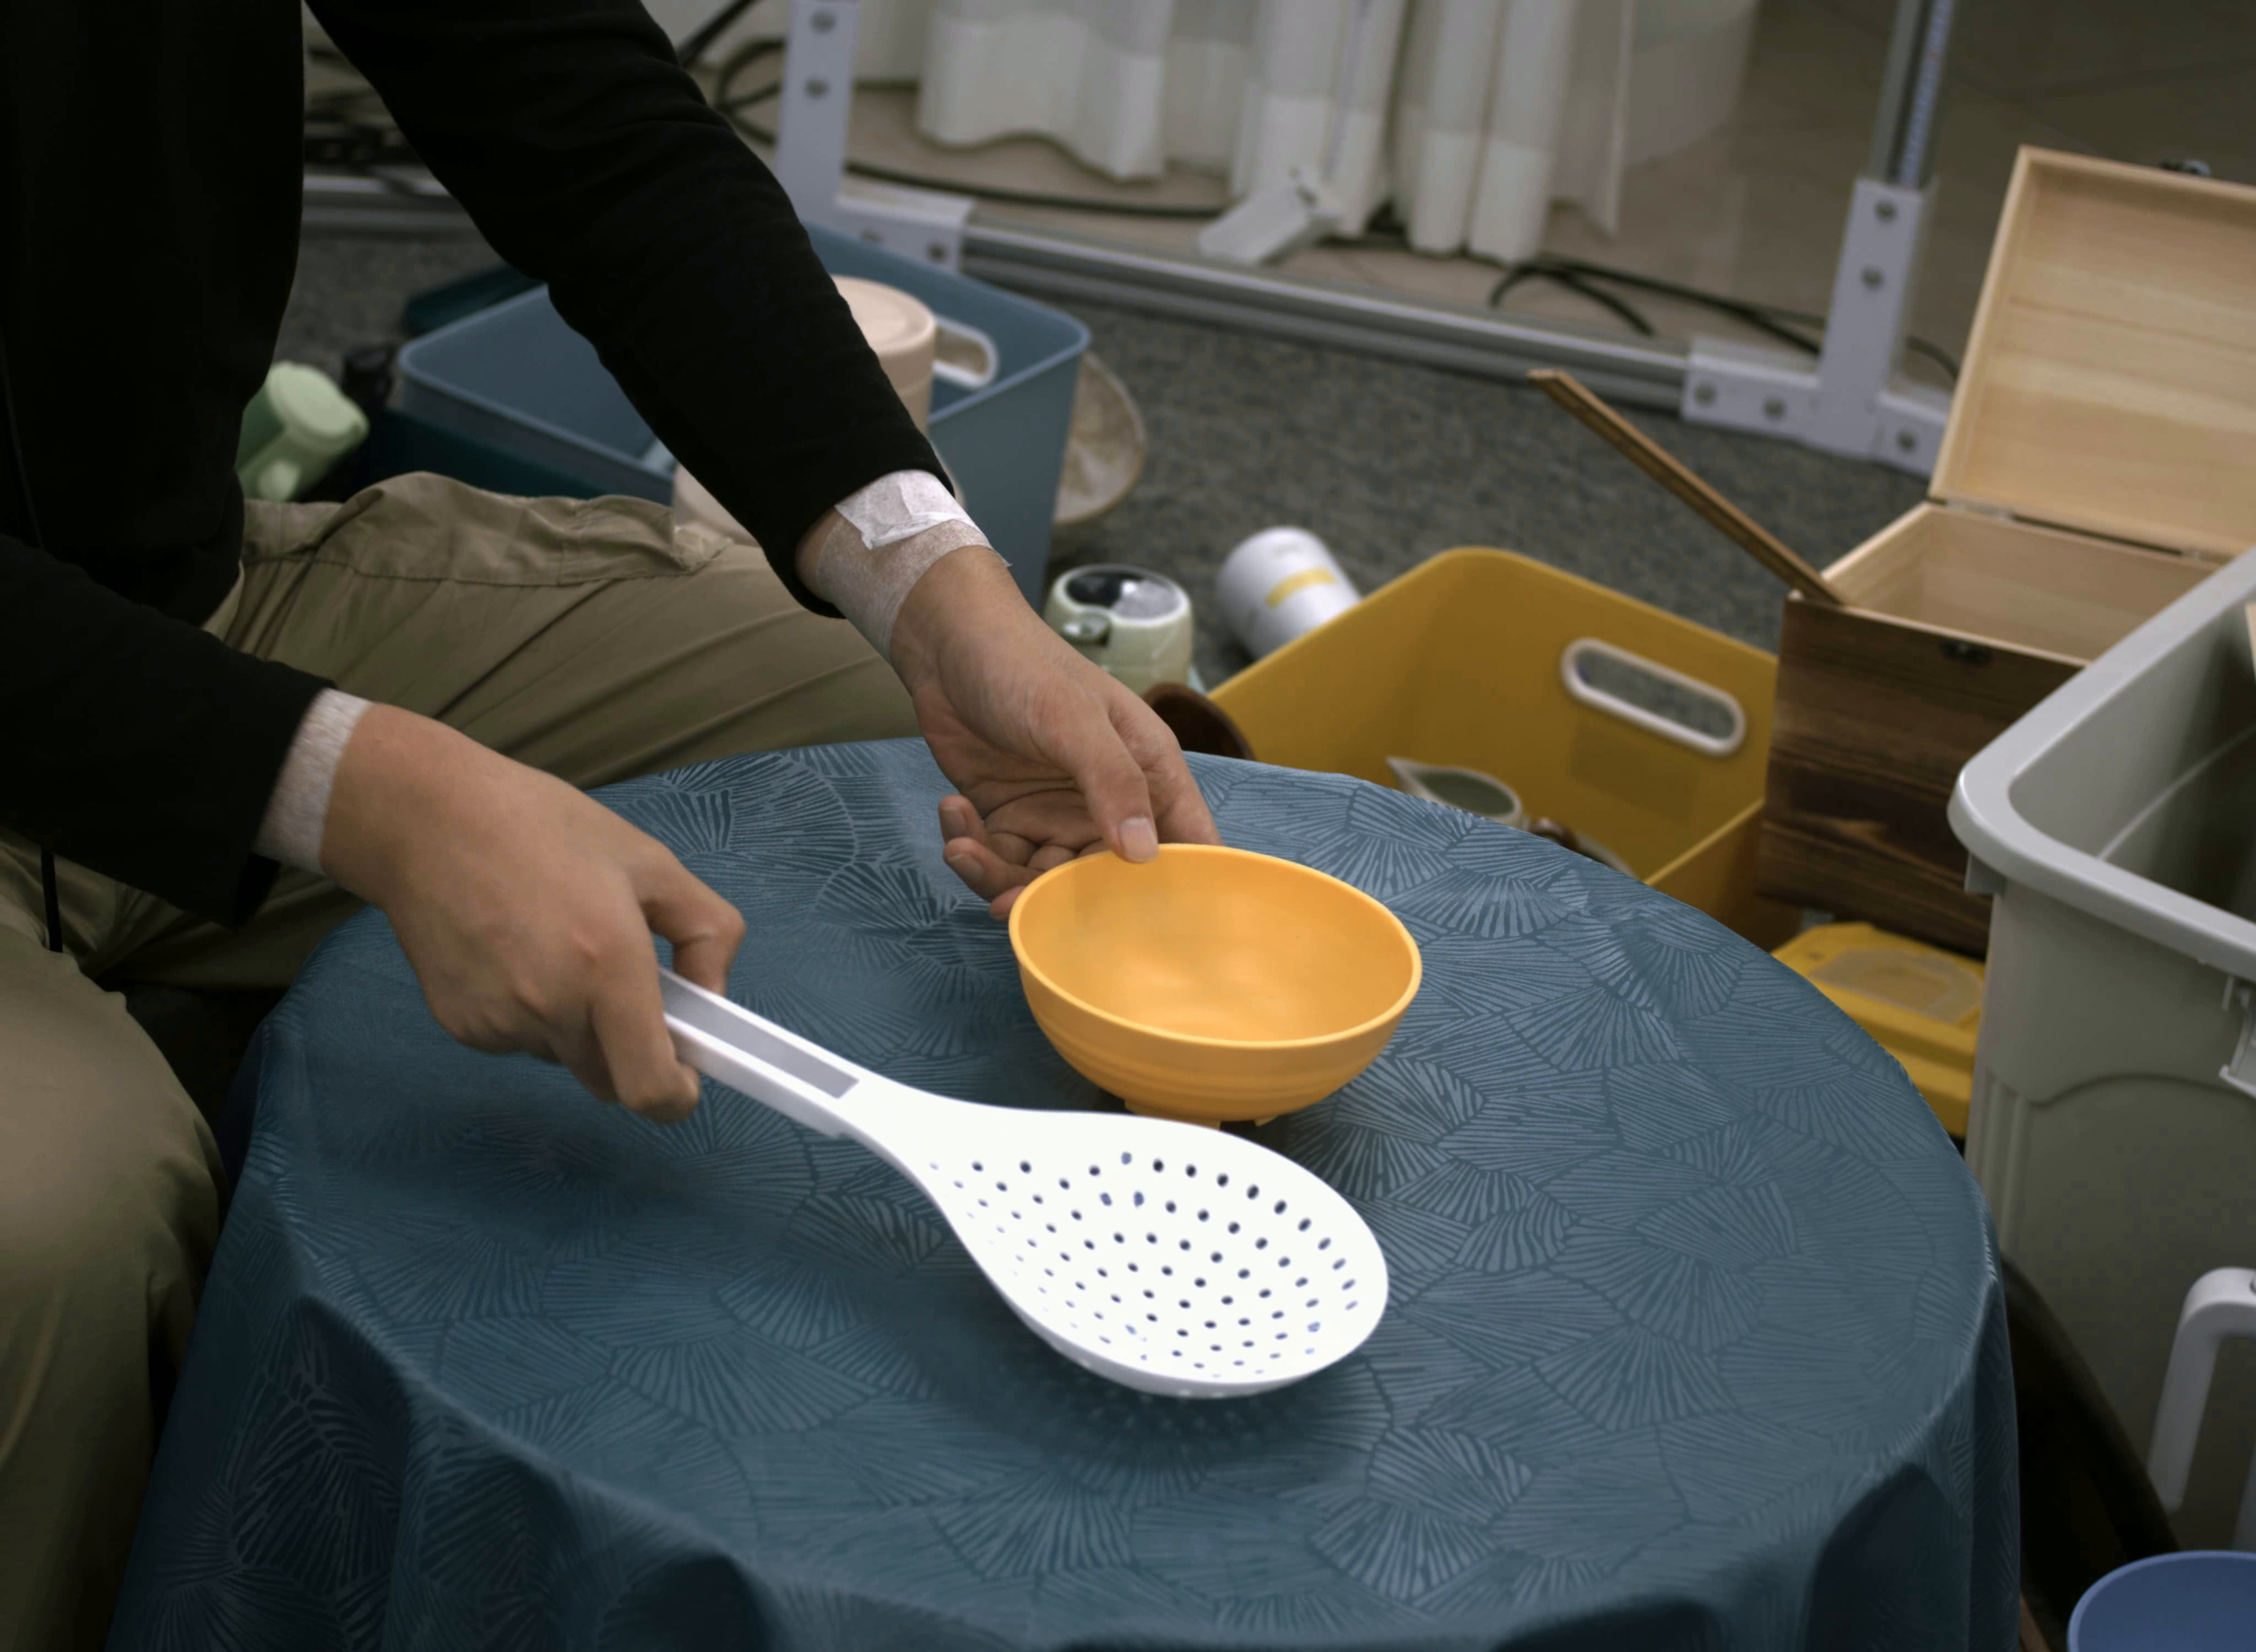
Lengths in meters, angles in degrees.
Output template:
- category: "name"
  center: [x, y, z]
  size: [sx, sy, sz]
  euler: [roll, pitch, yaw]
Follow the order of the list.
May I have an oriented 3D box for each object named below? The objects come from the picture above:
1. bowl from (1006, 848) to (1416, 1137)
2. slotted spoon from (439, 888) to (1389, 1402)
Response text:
- category: "bowl"
  center: [0.025, 0.067, 1.857]
  size: [0.145, 0.060, 0.146]
  euler: [7, 26, -4]
- category: "slotted spoon"
  center: [-0.077, 0.098, 1.735]
  size: [0.351, 0.045, 0.136]
  euler: [28, 35, 17]
